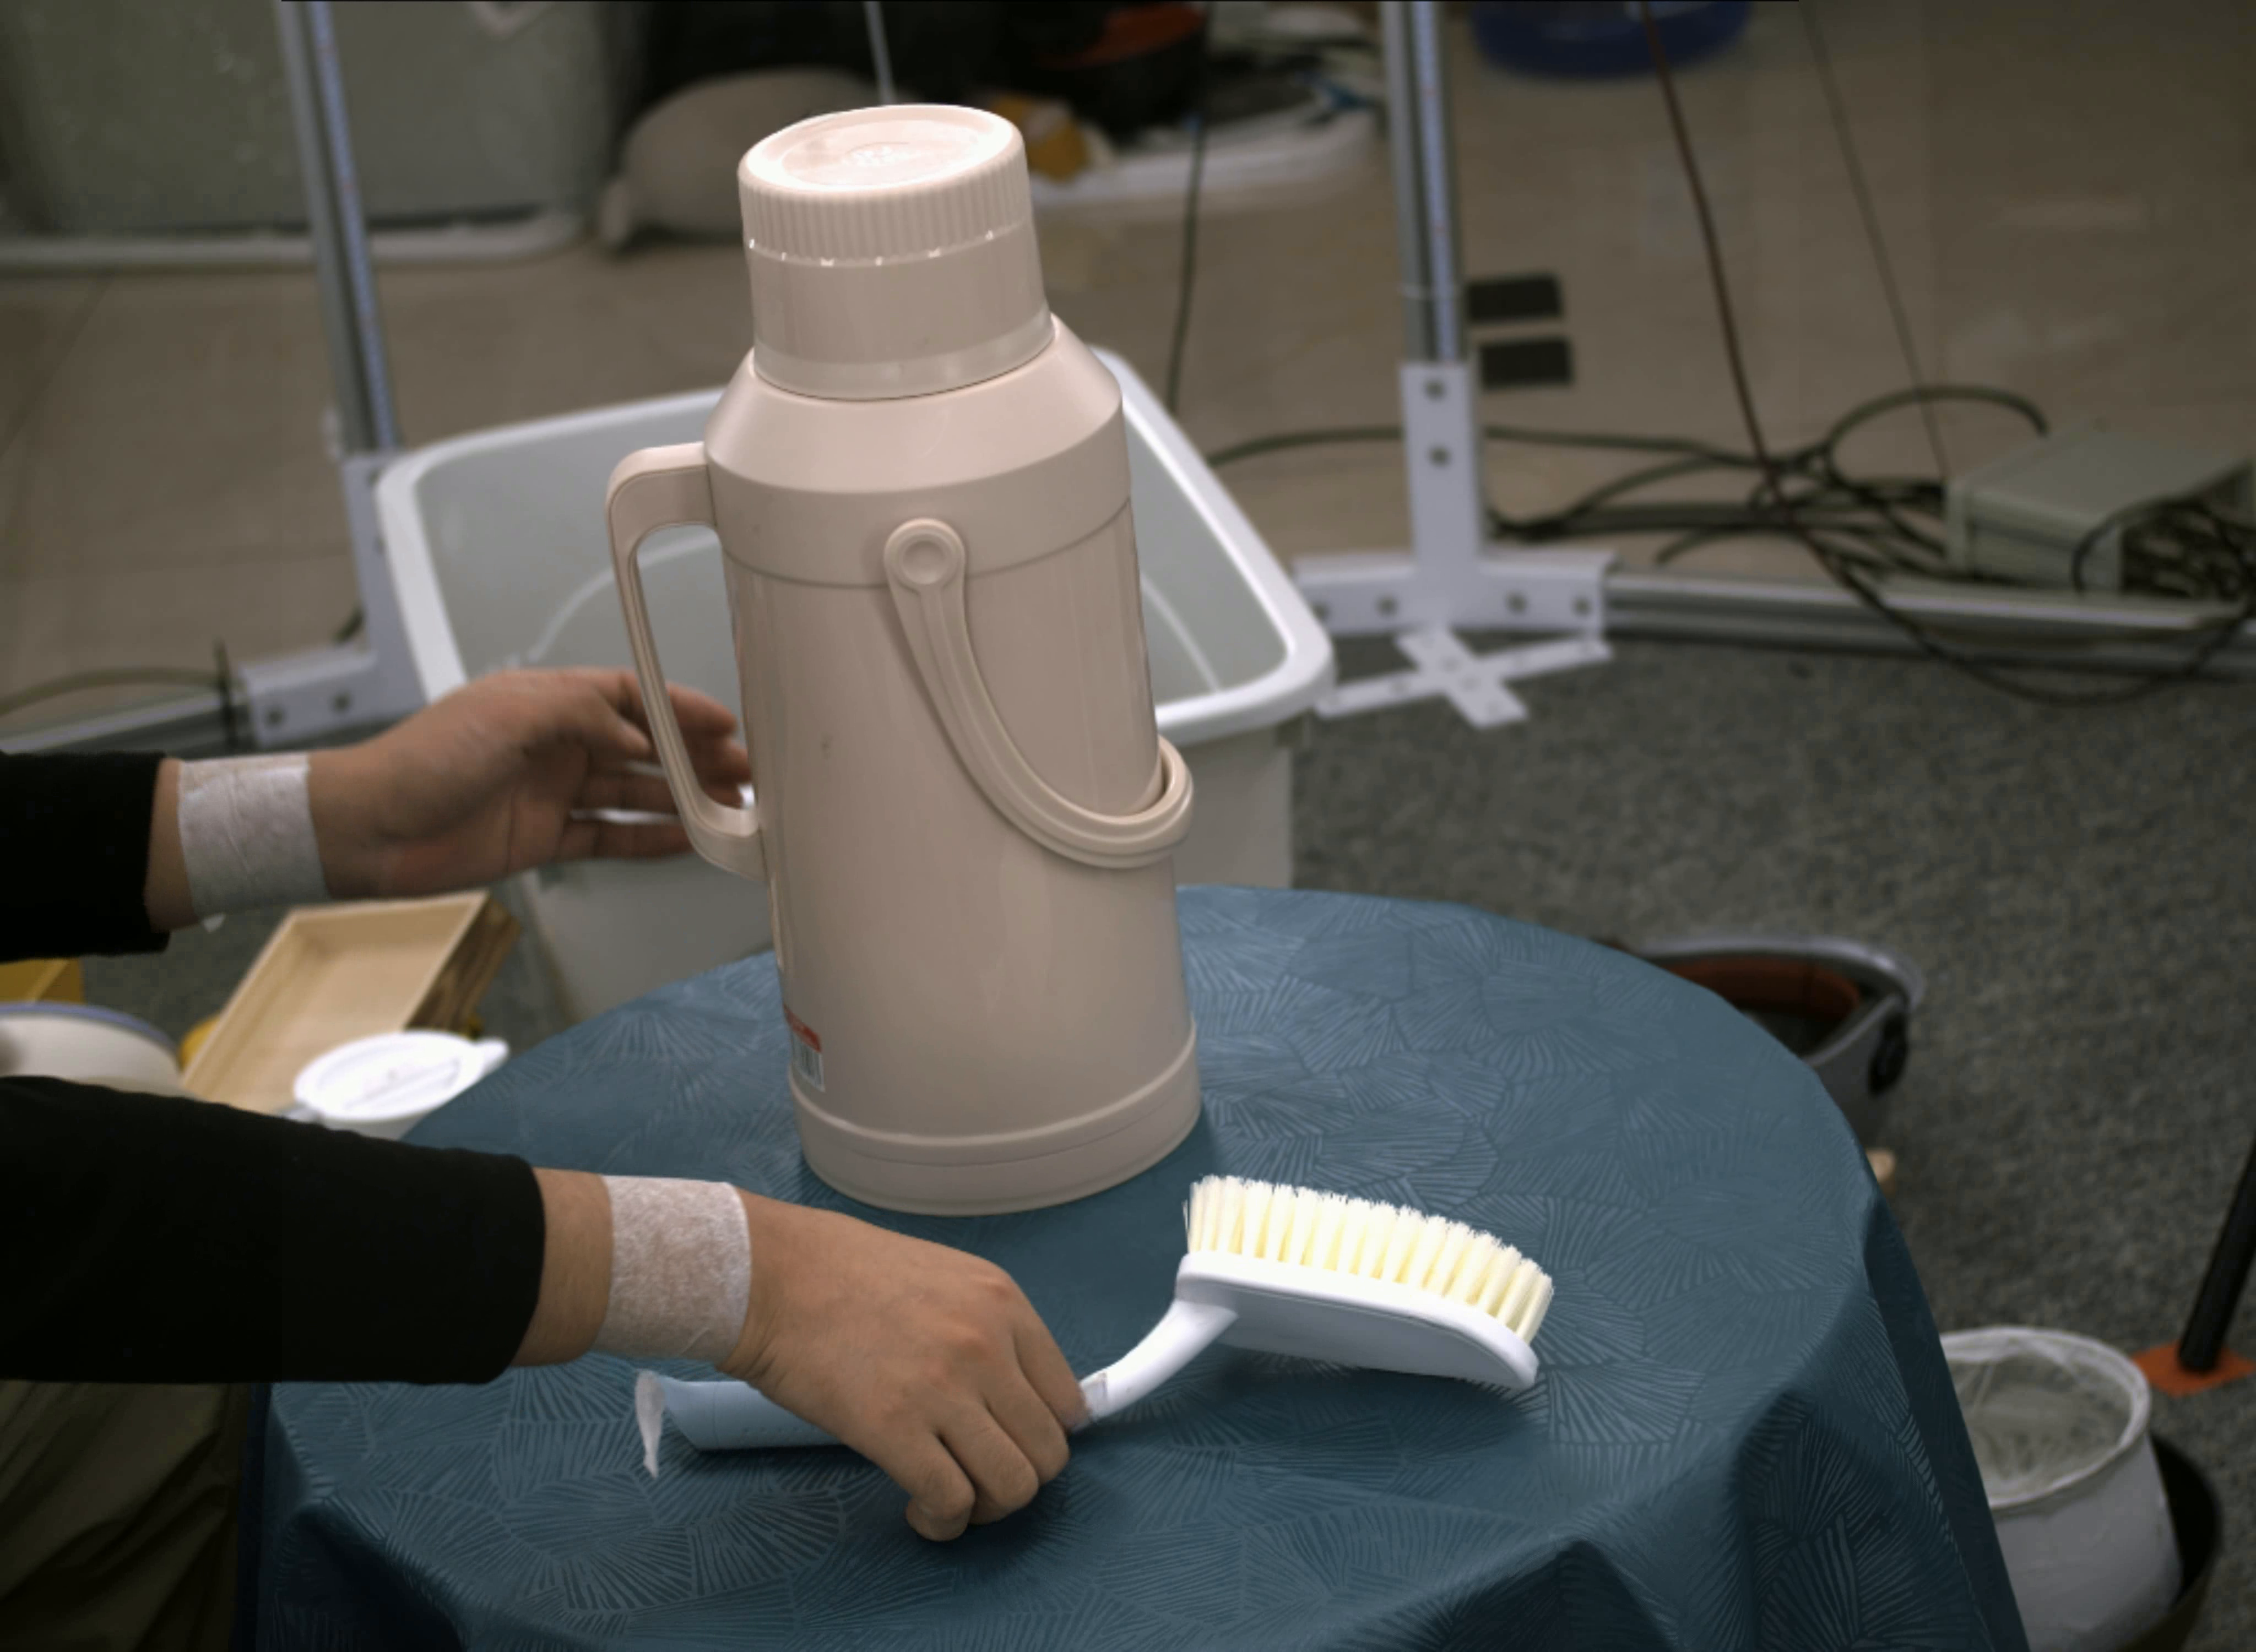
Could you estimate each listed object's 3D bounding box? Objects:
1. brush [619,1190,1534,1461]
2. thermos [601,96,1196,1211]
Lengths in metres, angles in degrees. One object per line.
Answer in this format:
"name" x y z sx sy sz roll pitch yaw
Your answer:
"brush" -0.020 0.168 2.000 0.325 0.084 0.083 -2 26 8
"thermos" -0.085 -0.064 2.127 0.206 0.413 0.172 -7 27 -1
